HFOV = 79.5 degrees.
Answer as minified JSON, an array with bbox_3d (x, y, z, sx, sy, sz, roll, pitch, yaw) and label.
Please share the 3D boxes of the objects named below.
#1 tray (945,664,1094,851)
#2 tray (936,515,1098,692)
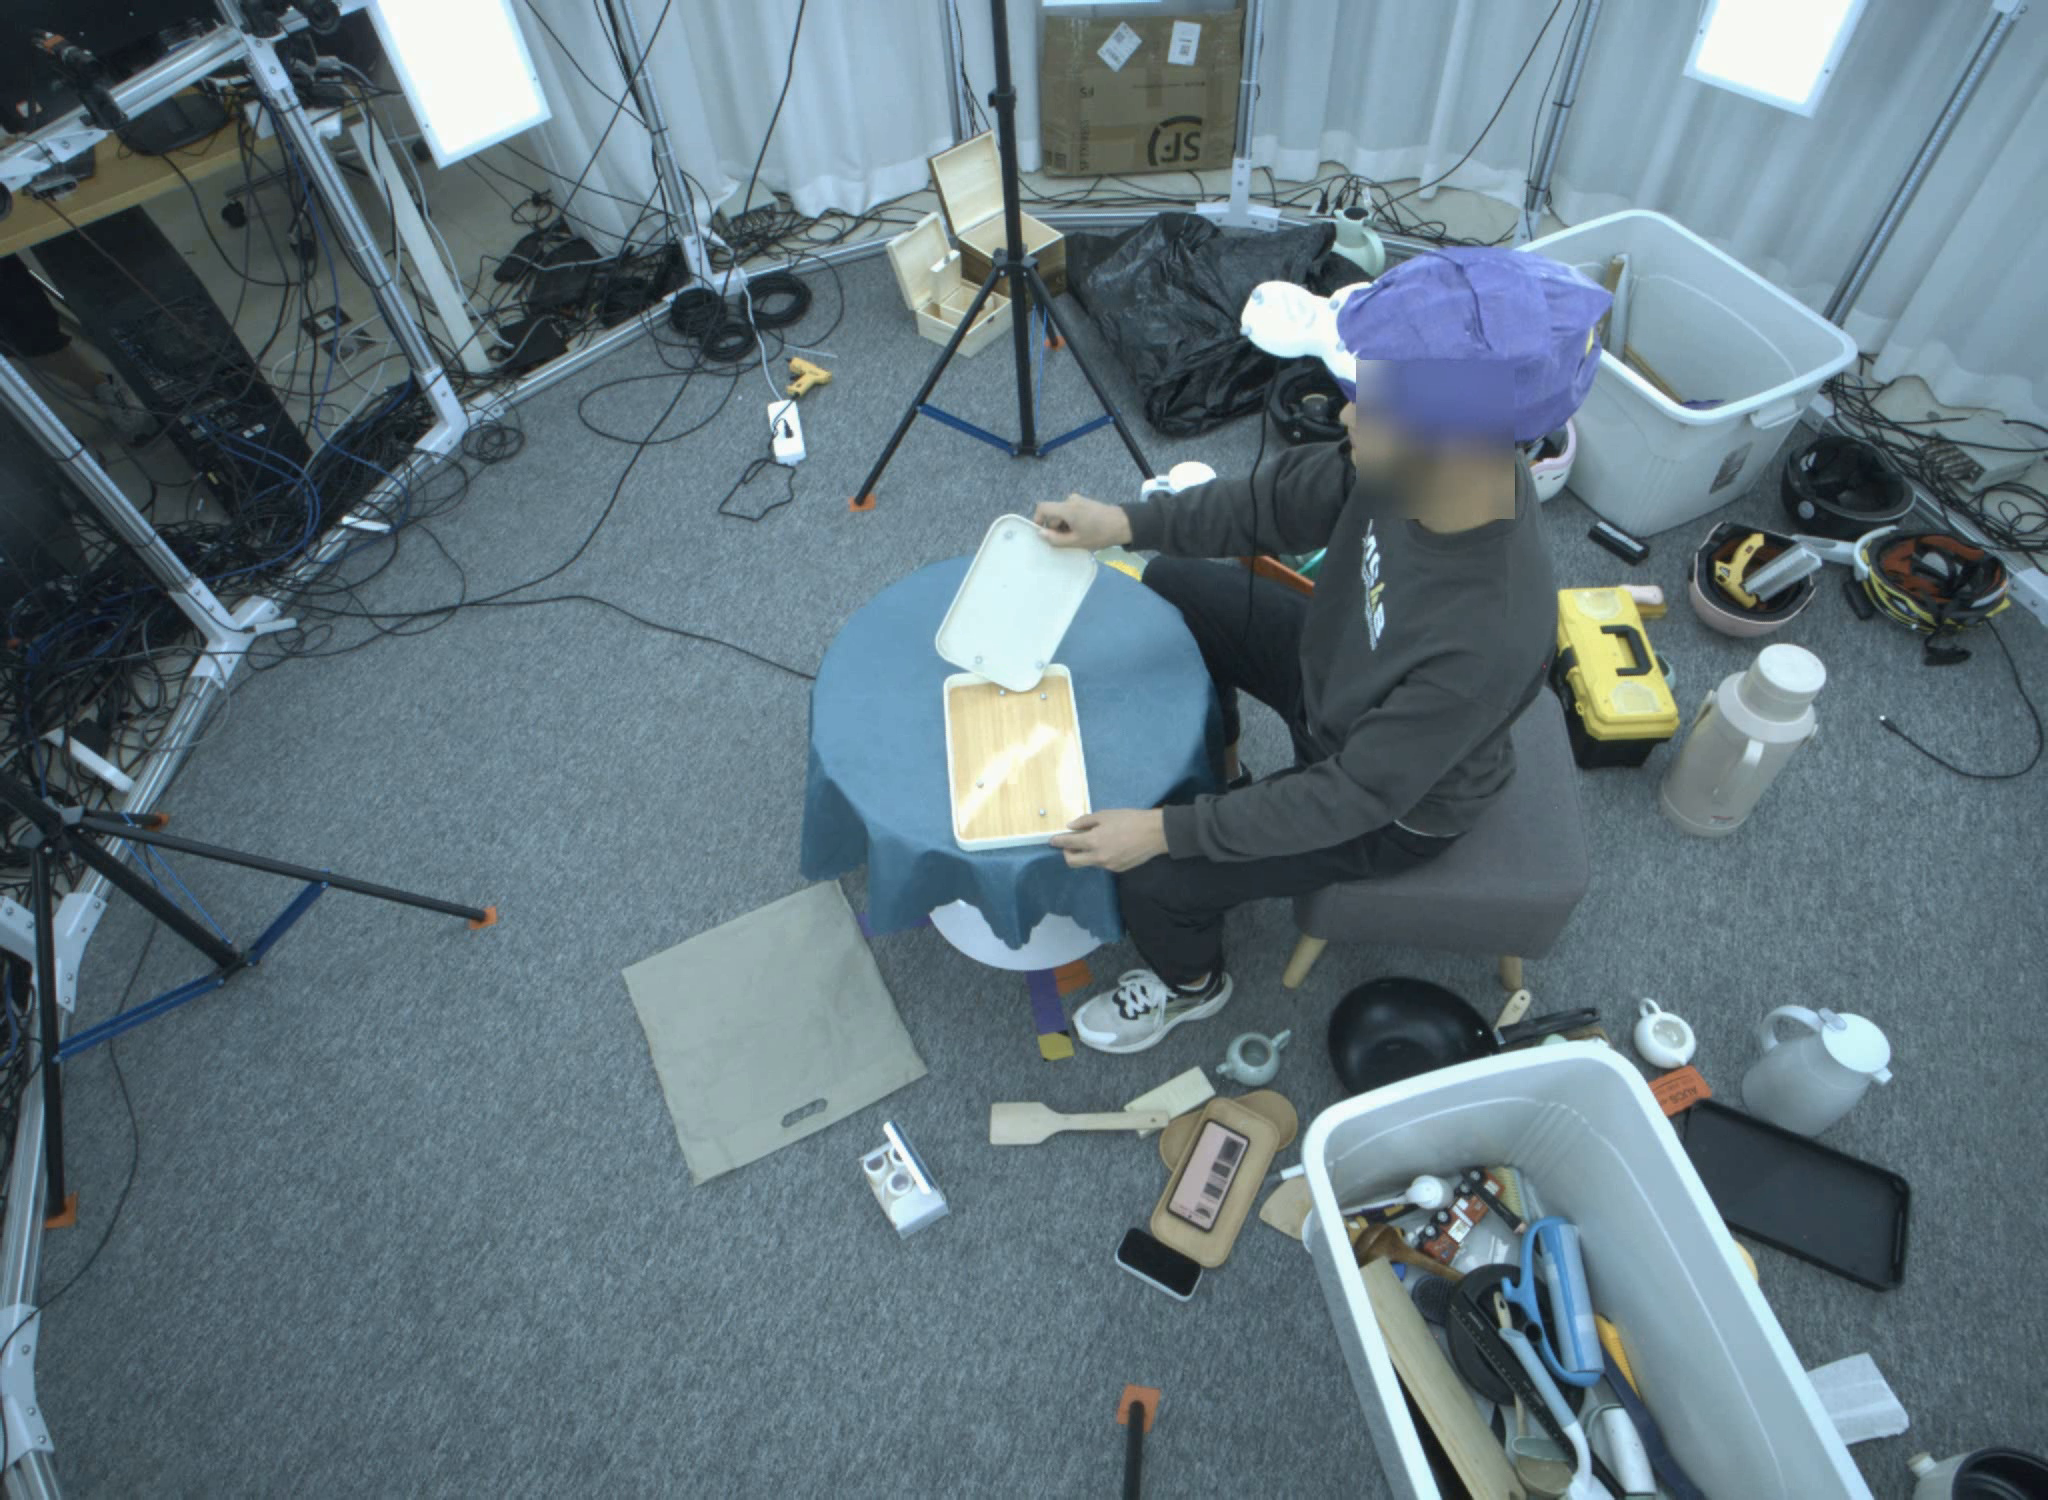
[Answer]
[{"bbox_3d":[-0.010,0.005,1.766,0.192,0.028,0.296,-5,55,-3],"label":"tray"},{"bbox_3d":[-0.012,-0.213,1.791,0.173,0.239,0.017,23,18,-16],"label":"tray"}]
